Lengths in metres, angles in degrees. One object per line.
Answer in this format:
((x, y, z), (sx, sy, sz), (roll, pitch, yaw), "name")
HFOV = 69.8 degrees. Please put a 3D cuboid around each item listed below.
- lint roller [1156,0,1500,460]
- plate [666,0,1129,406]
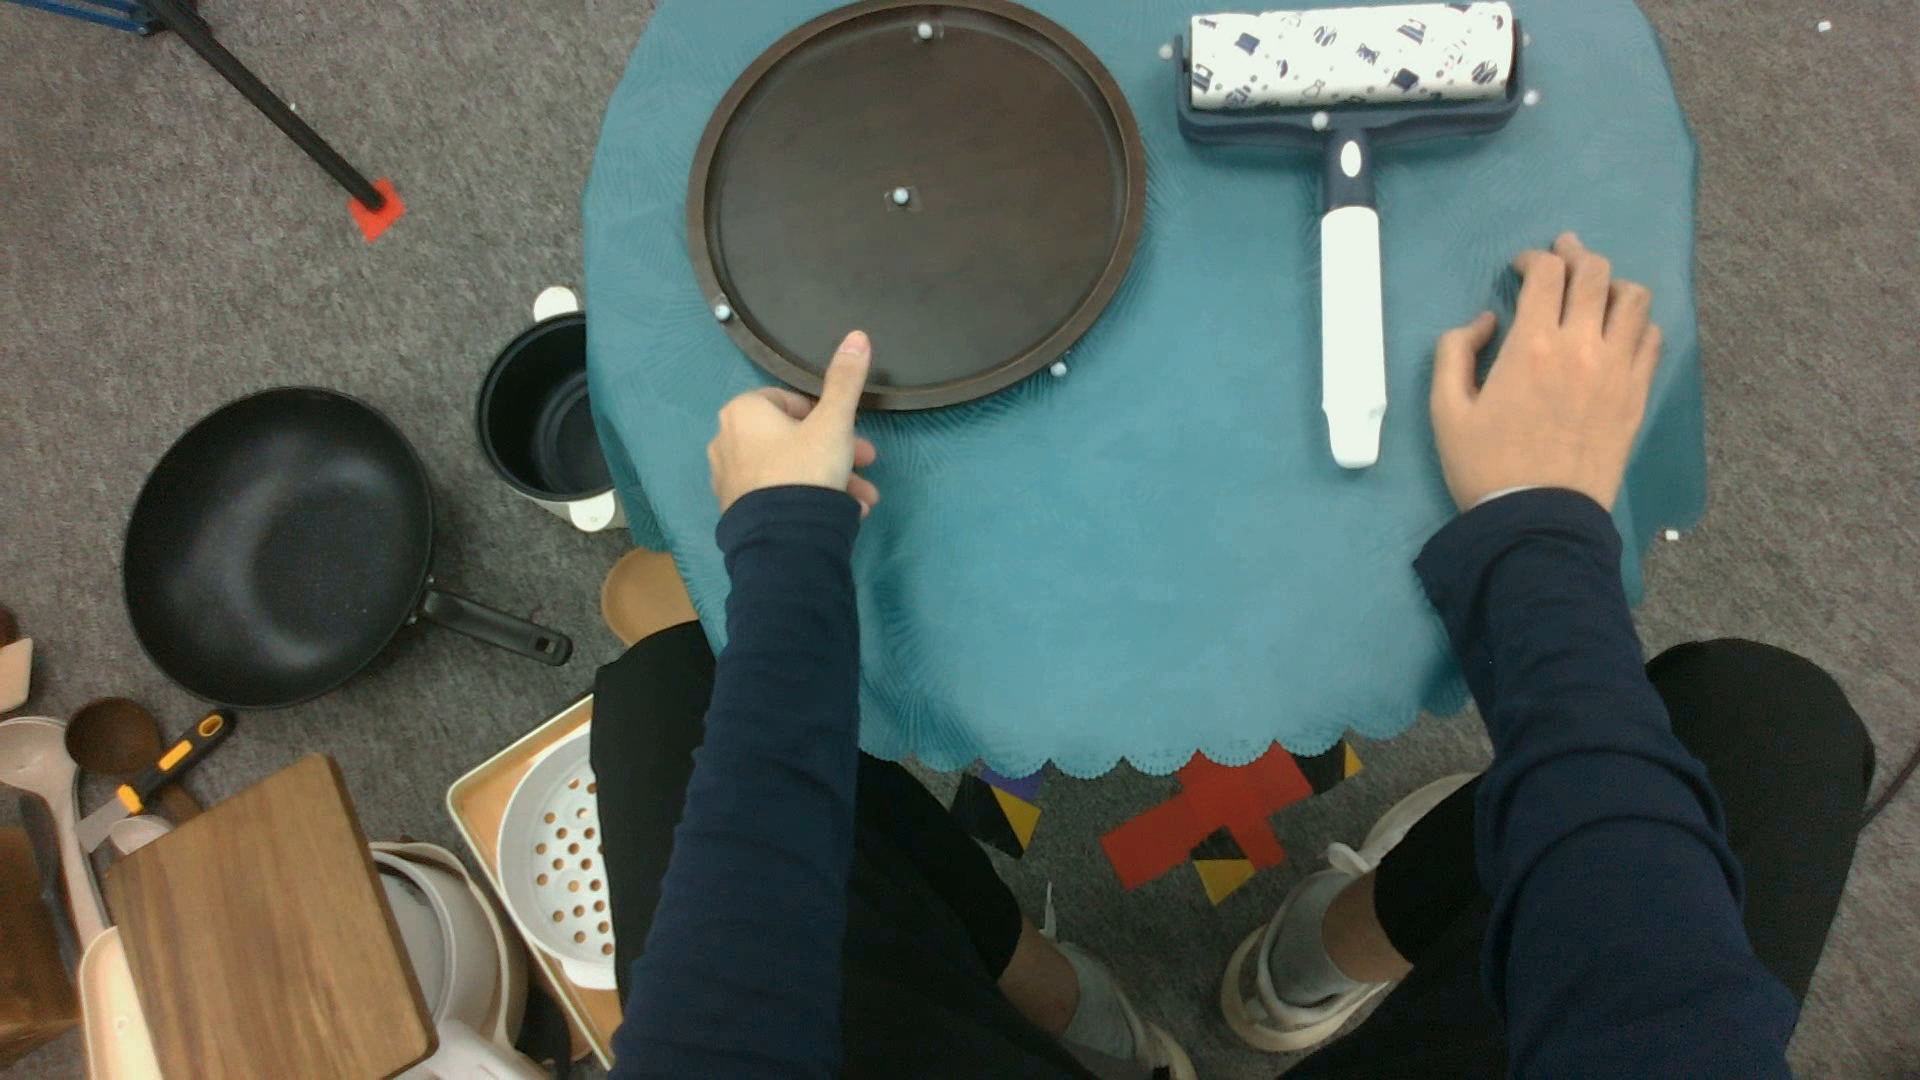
((0.192, -0.164, 0.707), (0.176, 0.050, 0.247), (-1, 77, 5), "lint roller")
((-0.035, -0.192, 0.752), (0.254, 0.029, 0.255), (-2, 76, 7), "plate")
